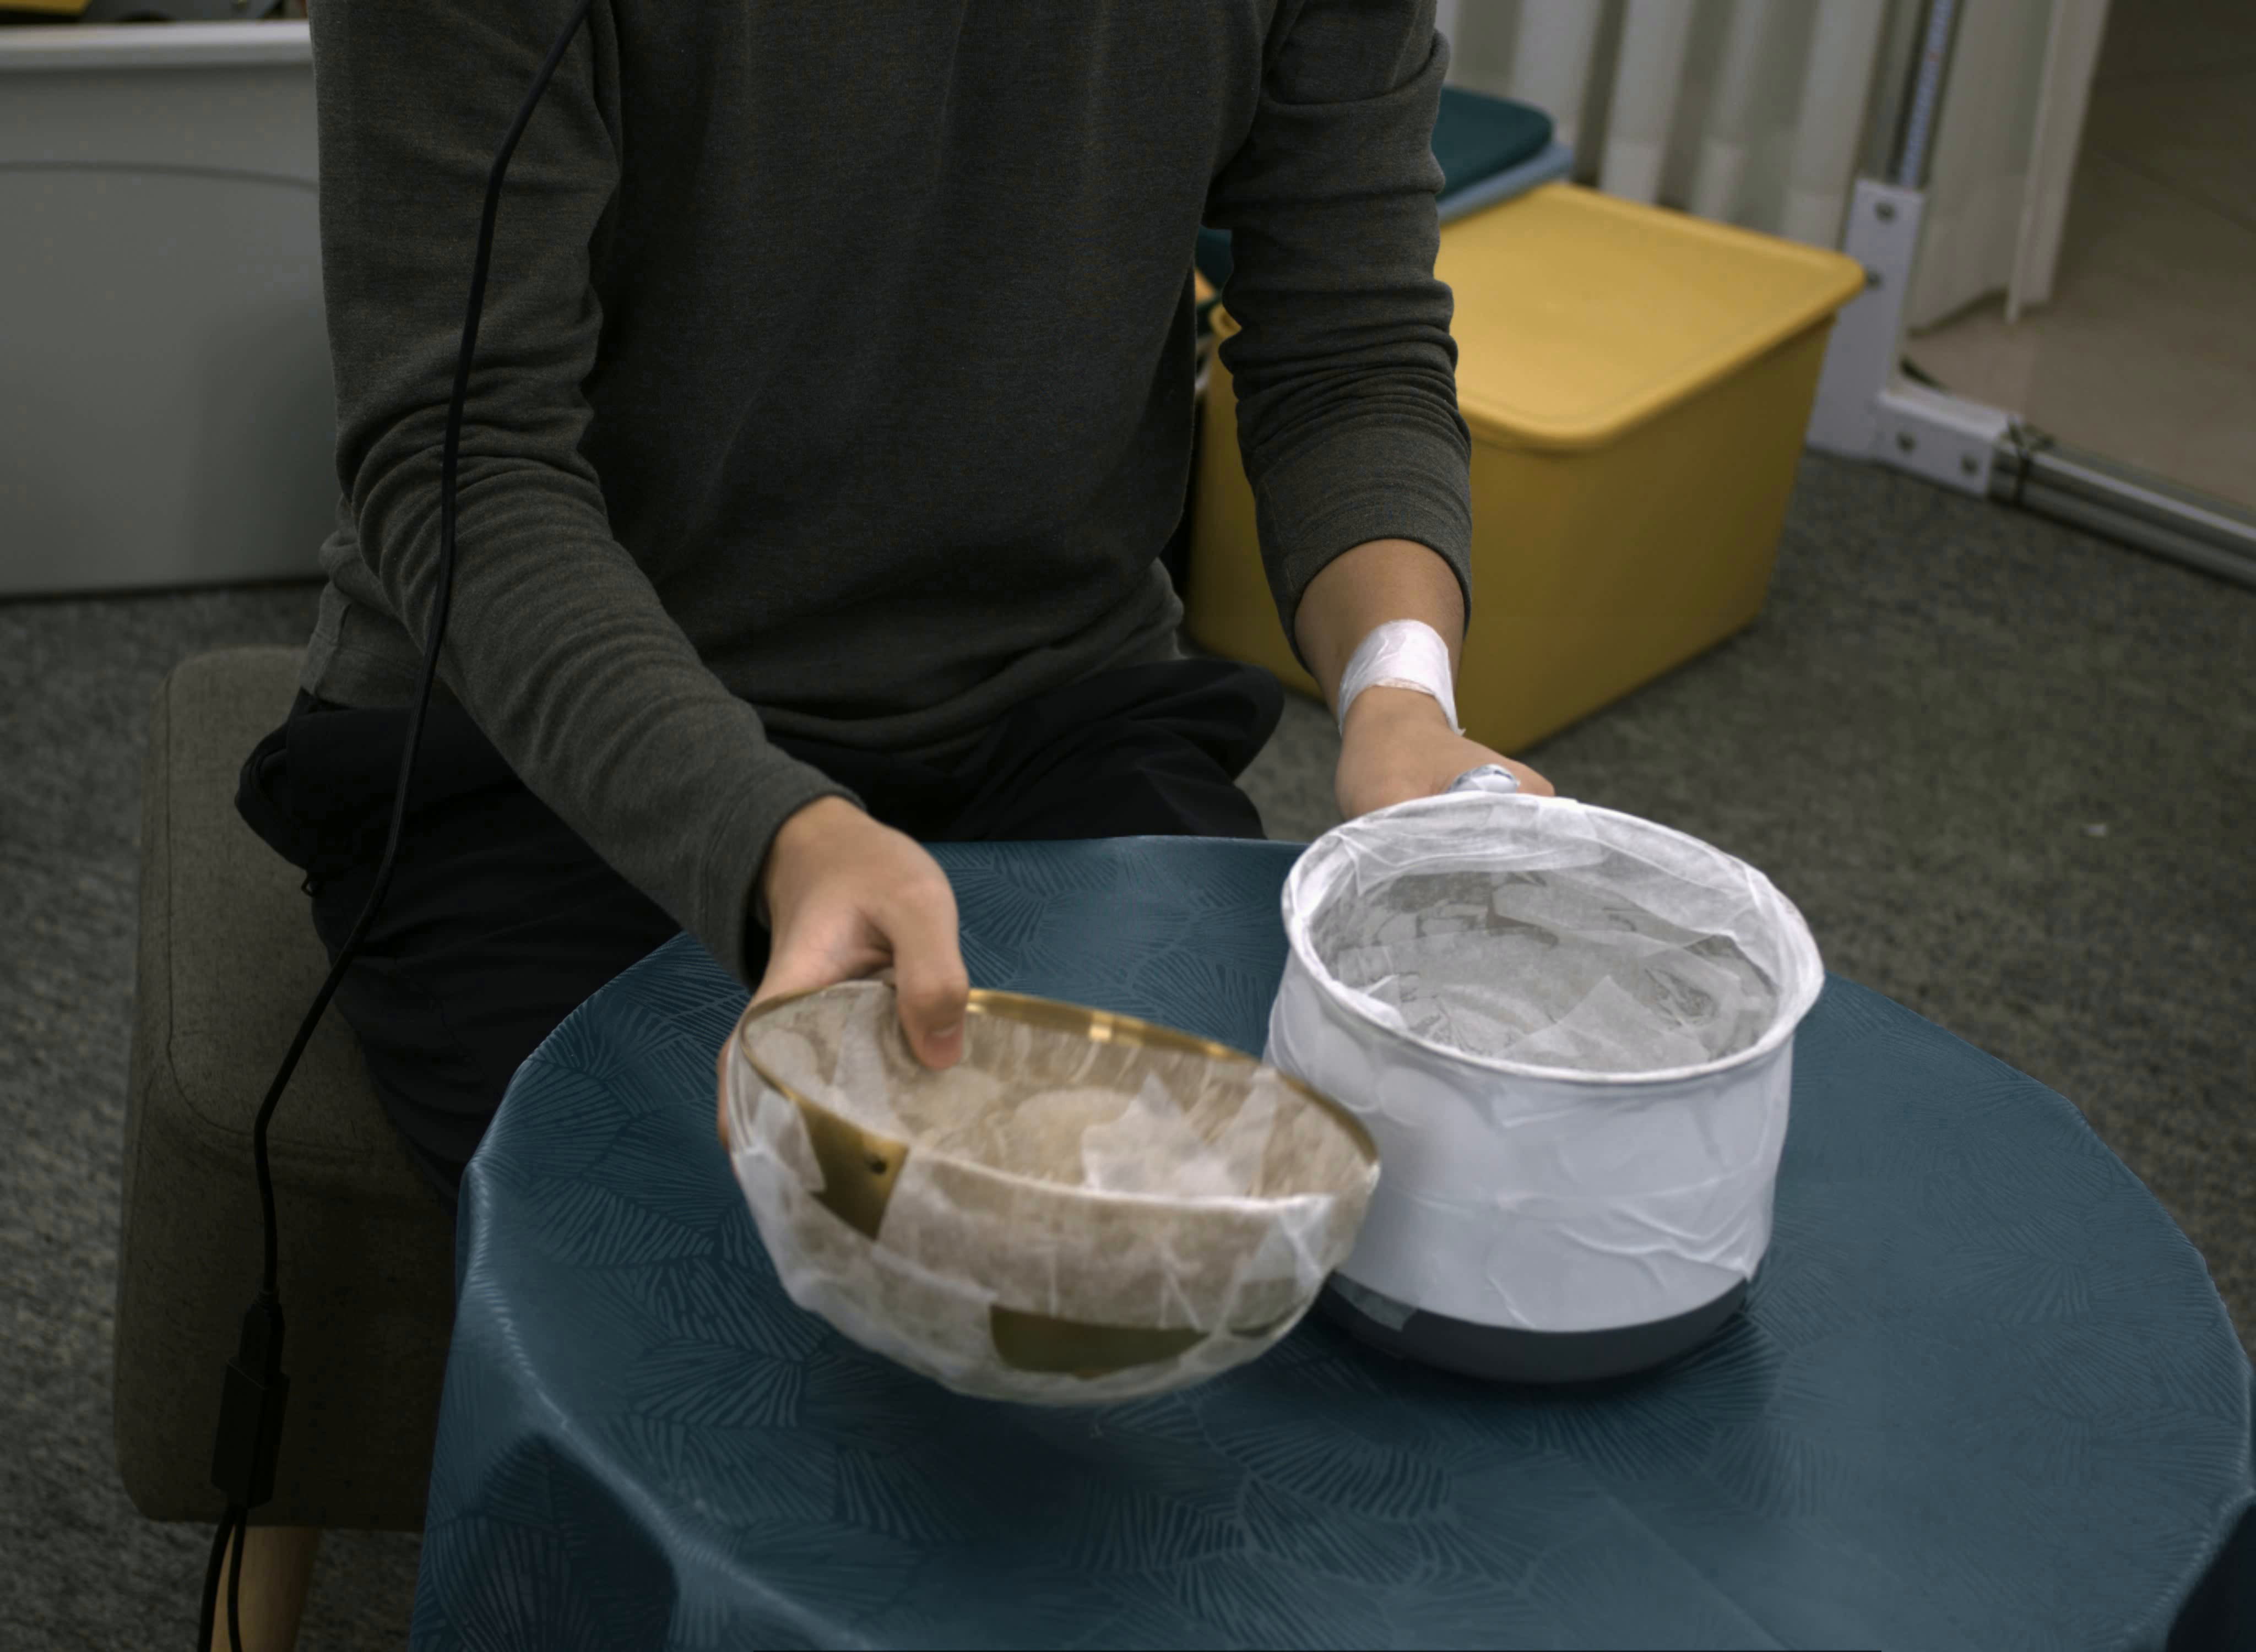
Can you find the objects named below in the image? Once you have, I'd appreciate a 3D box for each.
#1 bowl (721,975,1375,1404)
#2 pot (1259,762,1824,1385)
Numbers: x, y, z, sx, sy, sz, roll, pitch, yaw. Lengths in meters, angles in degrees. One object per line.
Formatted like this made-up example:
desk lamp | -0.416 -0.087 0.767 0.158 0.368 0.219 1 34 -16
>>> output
bowl | -0.032 0.120 1.619 0.214 0.094 0.215 12 11 -3
pot | 0.126 0.074 1.772 0.178 0.136 0.235 1 30 -11
